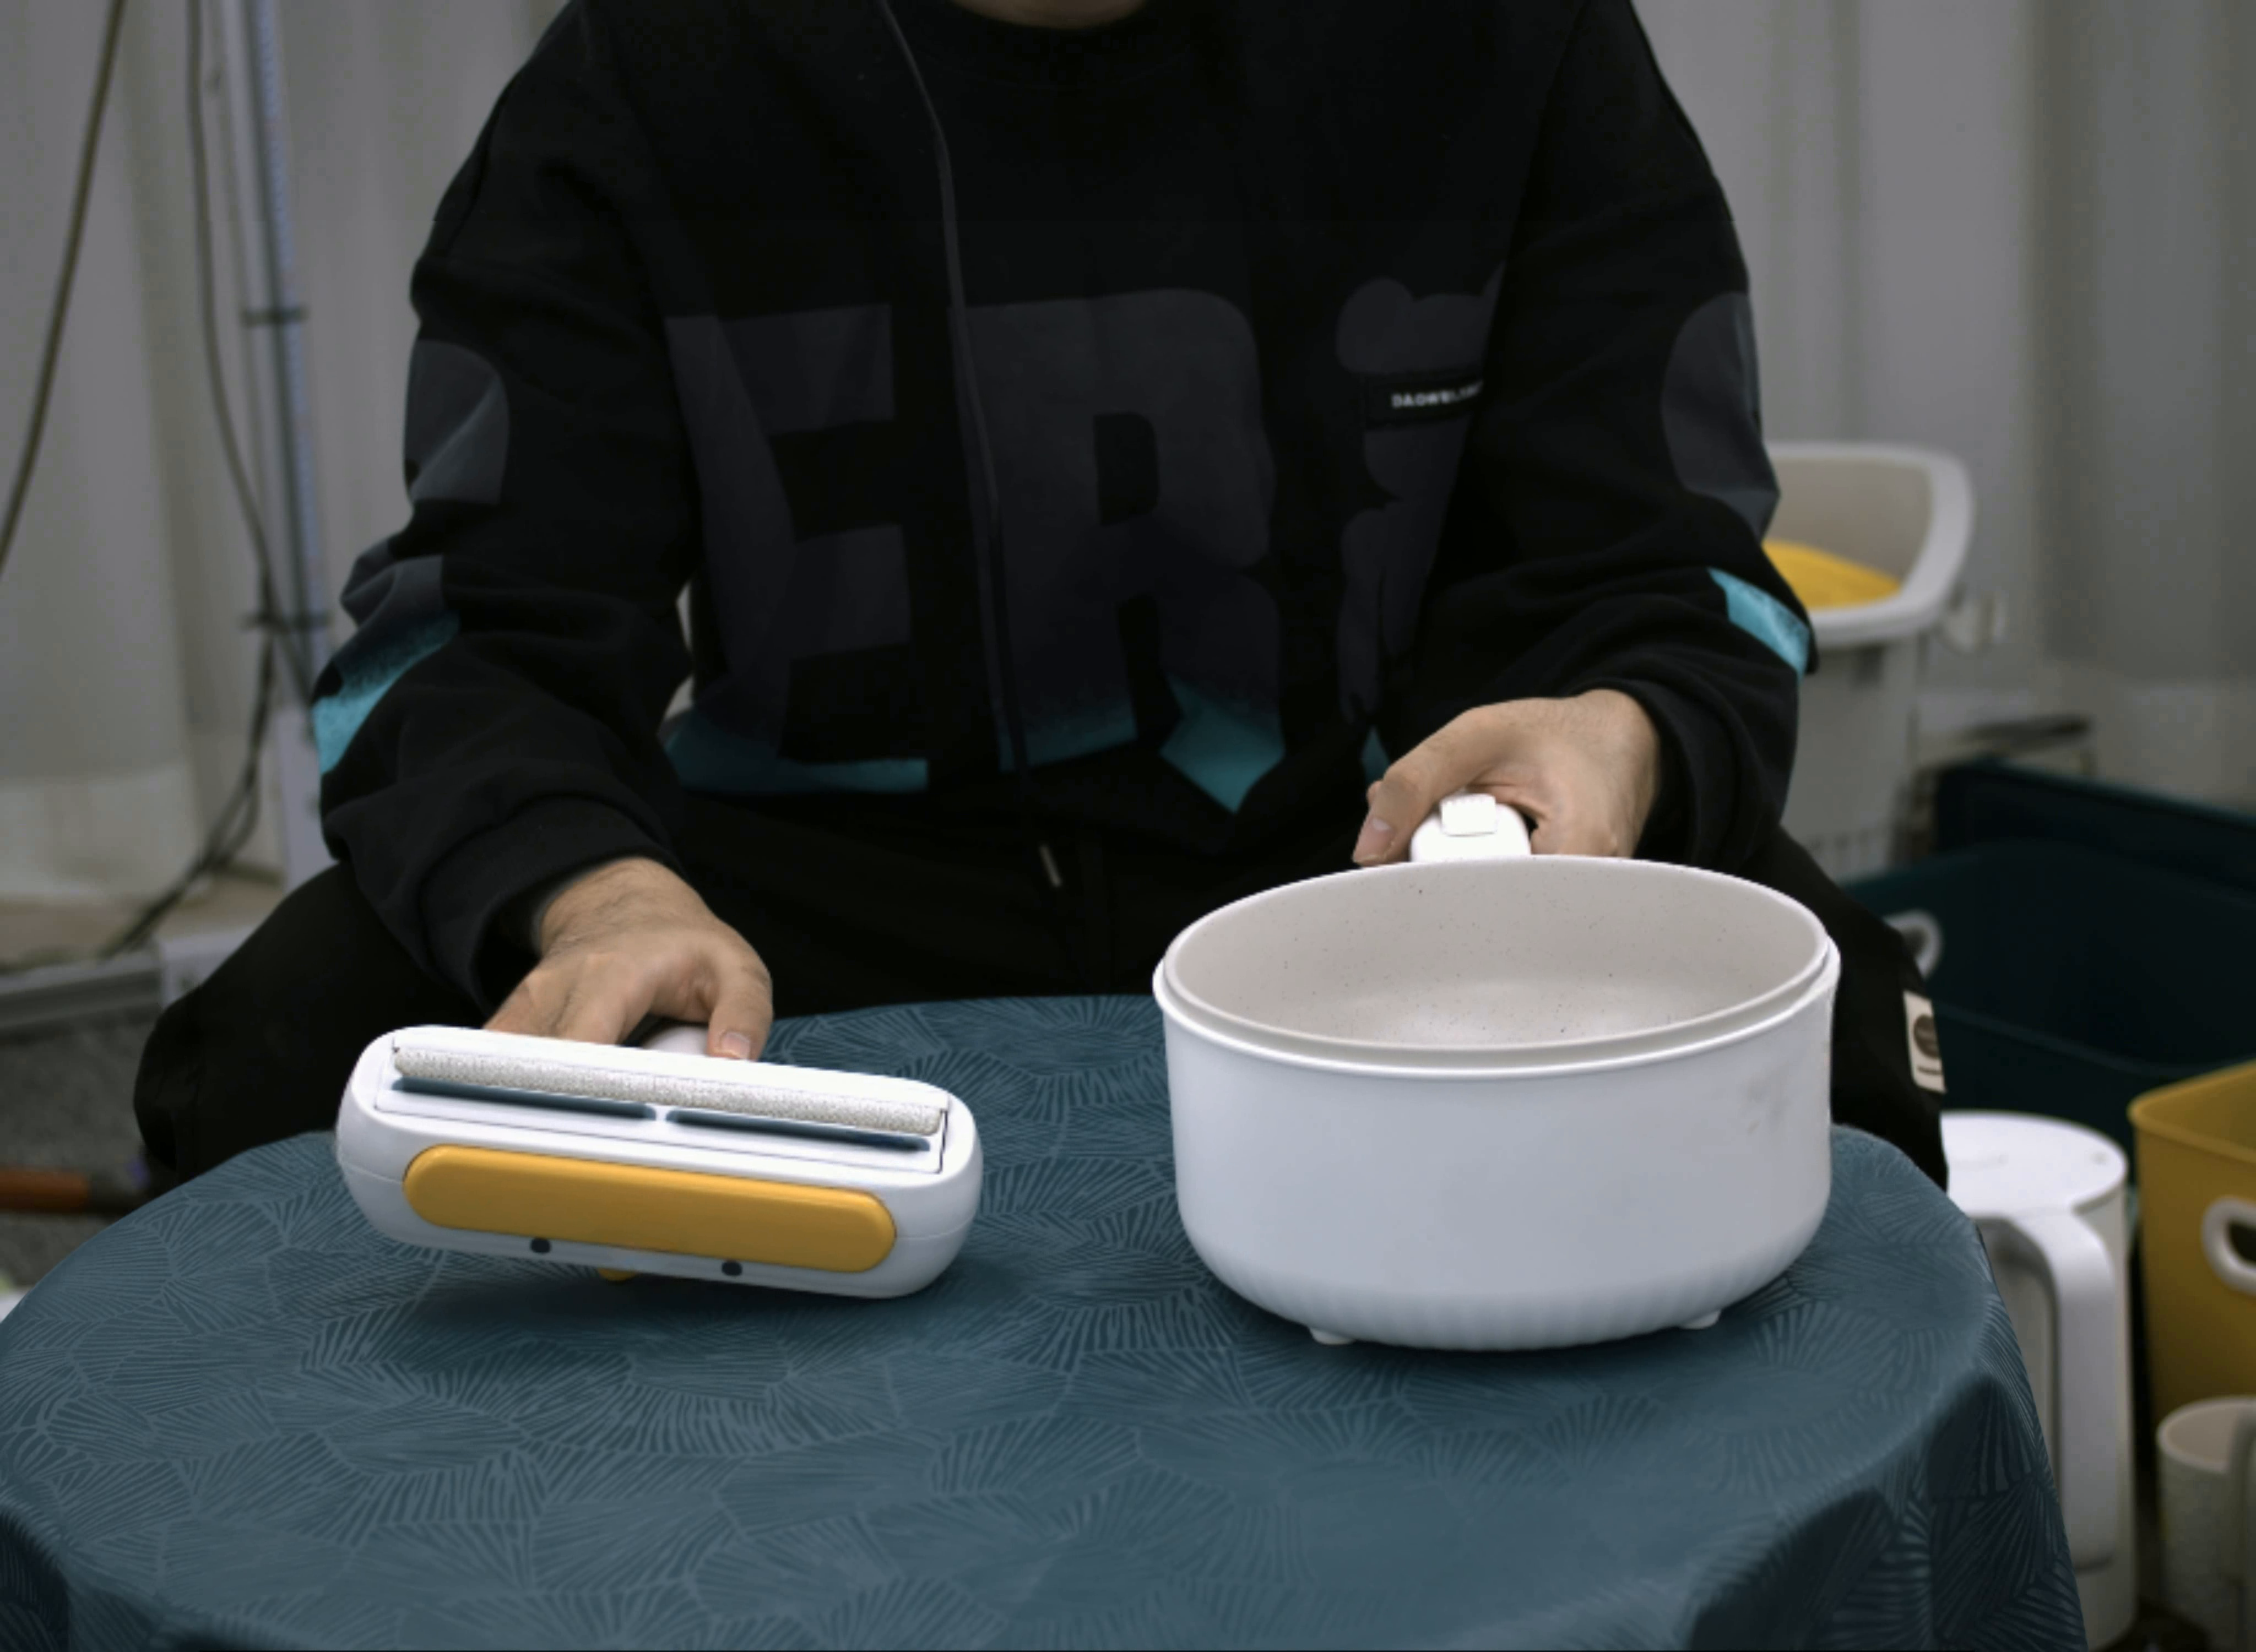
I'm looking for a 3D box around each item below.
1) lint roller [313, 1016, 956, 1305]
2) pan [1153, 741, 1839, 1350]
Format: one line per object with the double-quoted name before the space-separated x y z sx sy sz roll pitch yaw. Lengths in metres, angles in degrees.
"lint roller" -0.143 0.087 1.695 0.192 0.074 0.194 4 20 4
"pan" 0.110 0.063 1.687 0.200 0.101 0.357 -3 15 1
